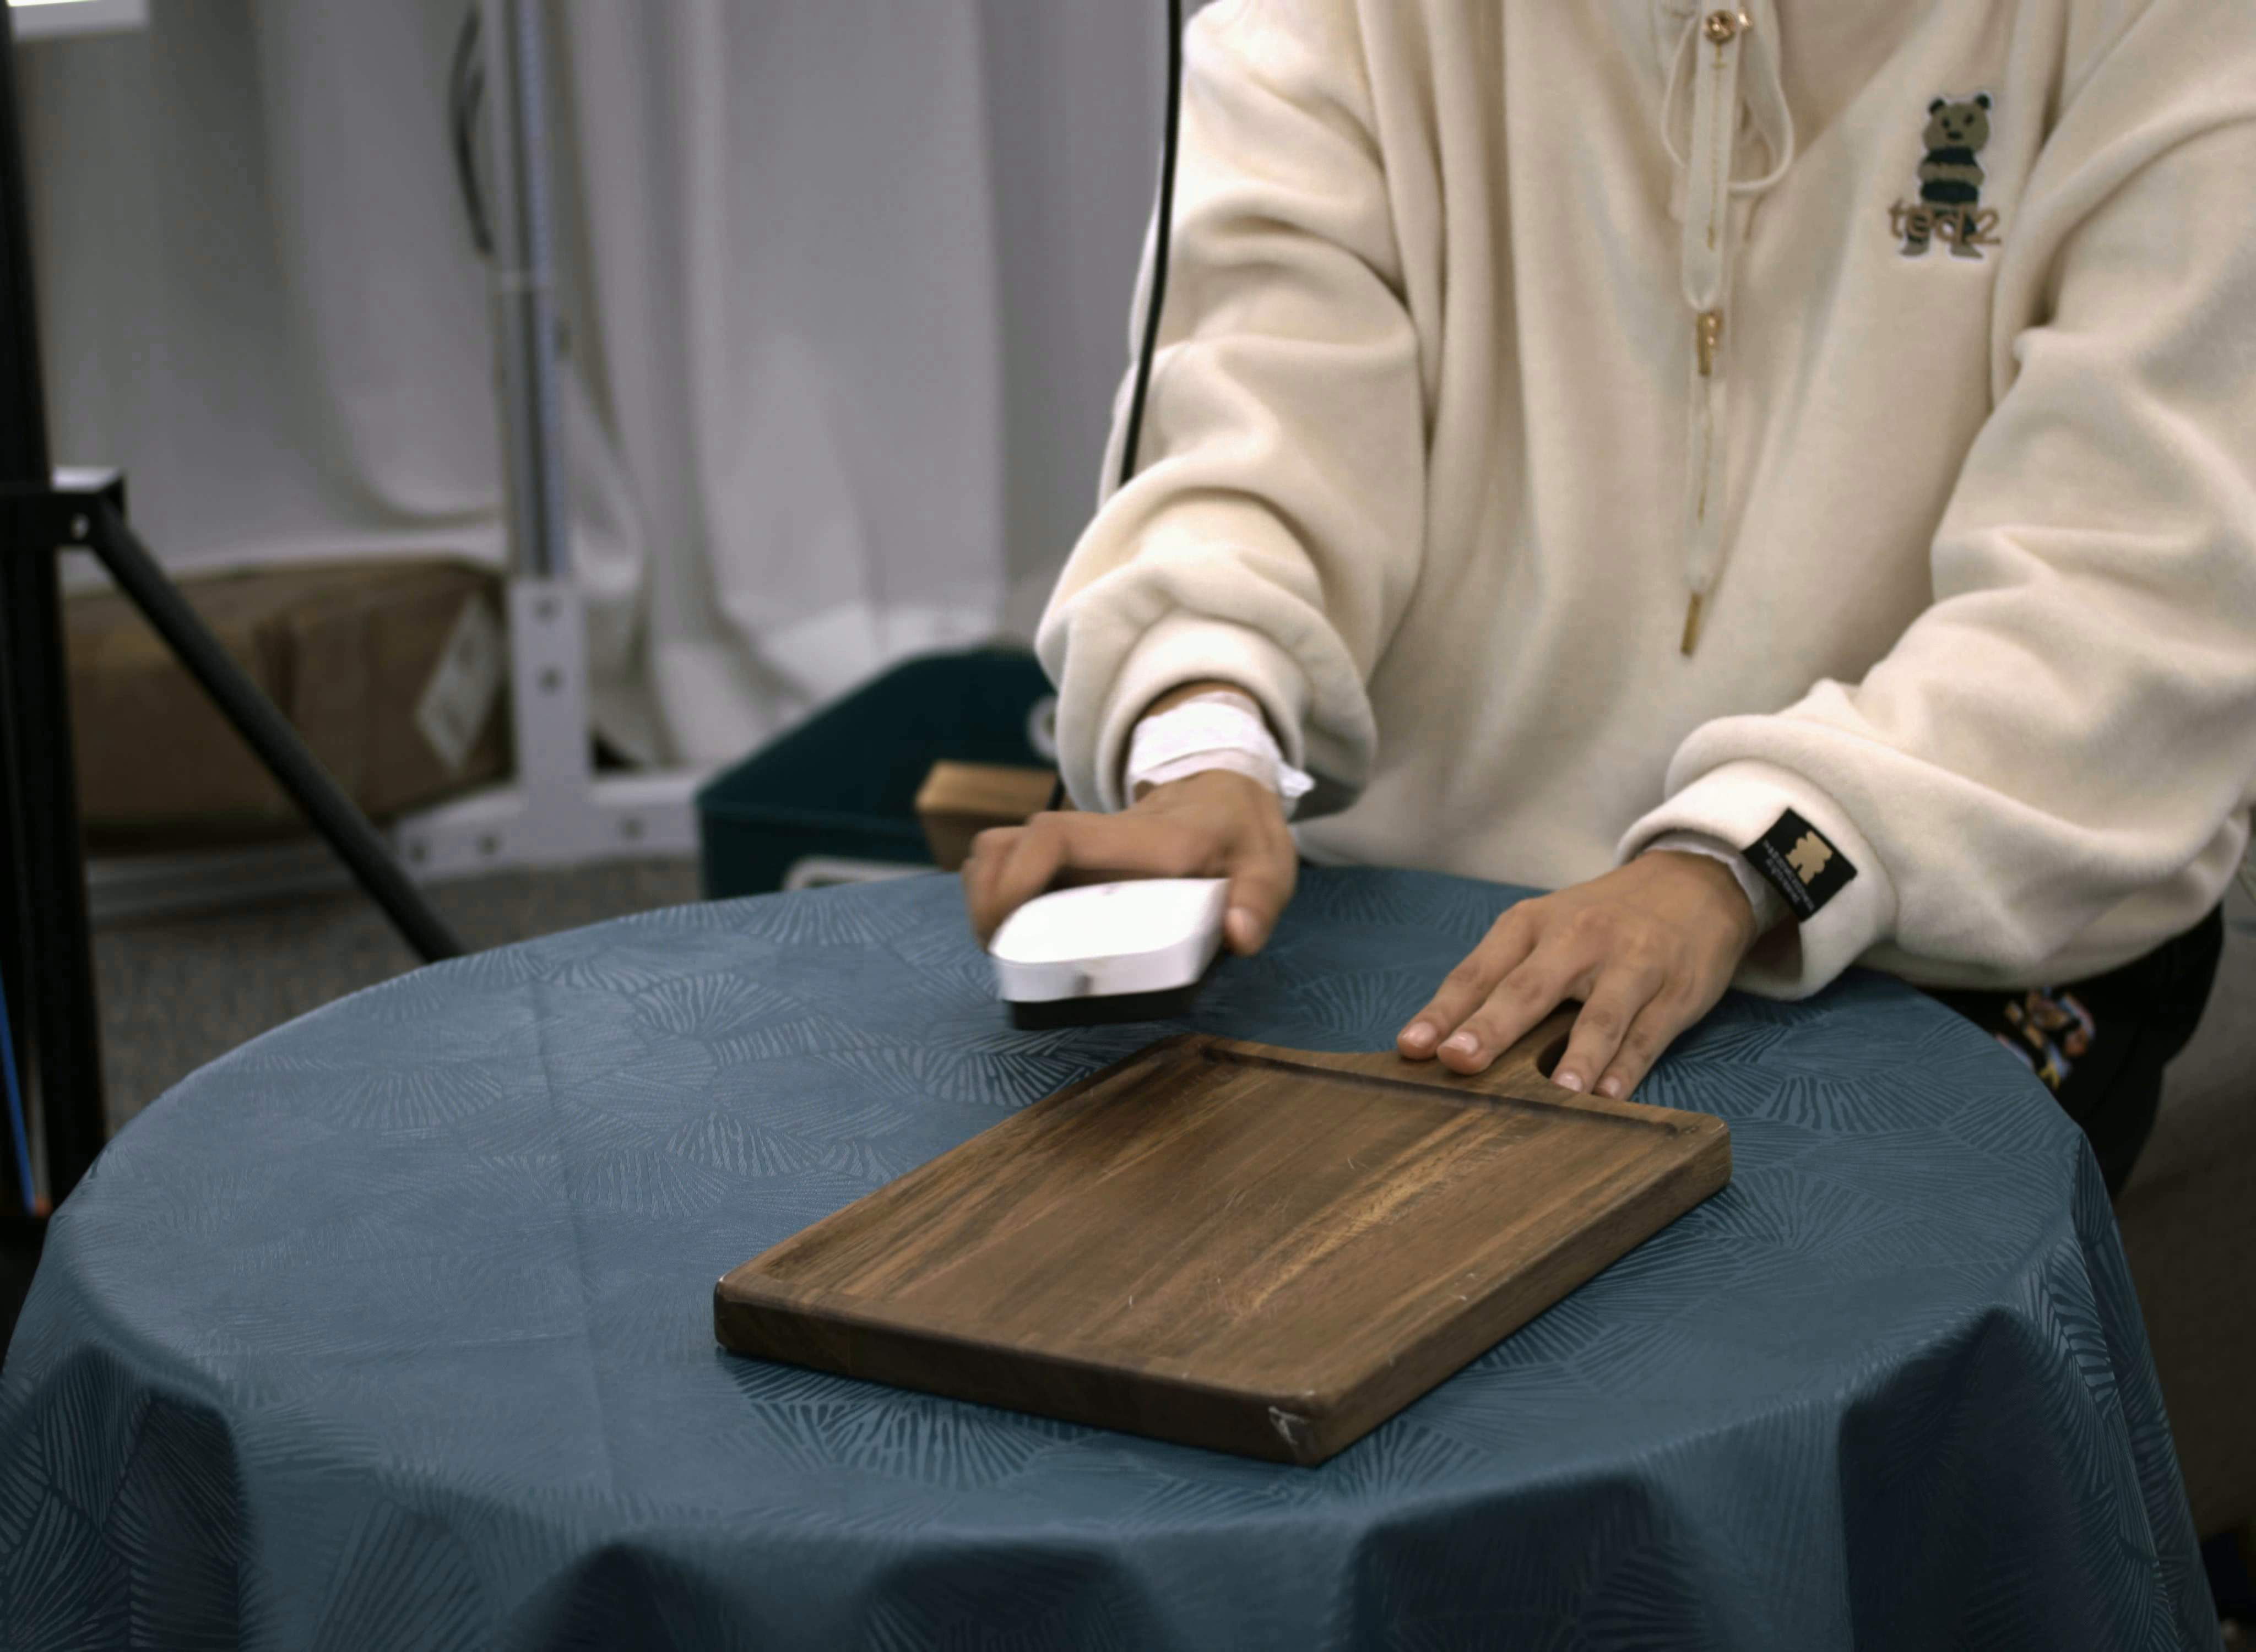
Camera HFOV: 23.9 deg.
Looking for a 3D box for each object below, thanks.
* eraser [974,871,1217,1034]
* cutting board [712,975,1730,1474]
[{"bbox_3d":[-0.007,0.036,1.641,0.063,0.034,0.130,-5,8,11],"label":"eraser"},{"bbox_3d":[0.057,0.102,1.531,0.205,0.023,0.345,8,19,31],"label":"cutting board"}]
